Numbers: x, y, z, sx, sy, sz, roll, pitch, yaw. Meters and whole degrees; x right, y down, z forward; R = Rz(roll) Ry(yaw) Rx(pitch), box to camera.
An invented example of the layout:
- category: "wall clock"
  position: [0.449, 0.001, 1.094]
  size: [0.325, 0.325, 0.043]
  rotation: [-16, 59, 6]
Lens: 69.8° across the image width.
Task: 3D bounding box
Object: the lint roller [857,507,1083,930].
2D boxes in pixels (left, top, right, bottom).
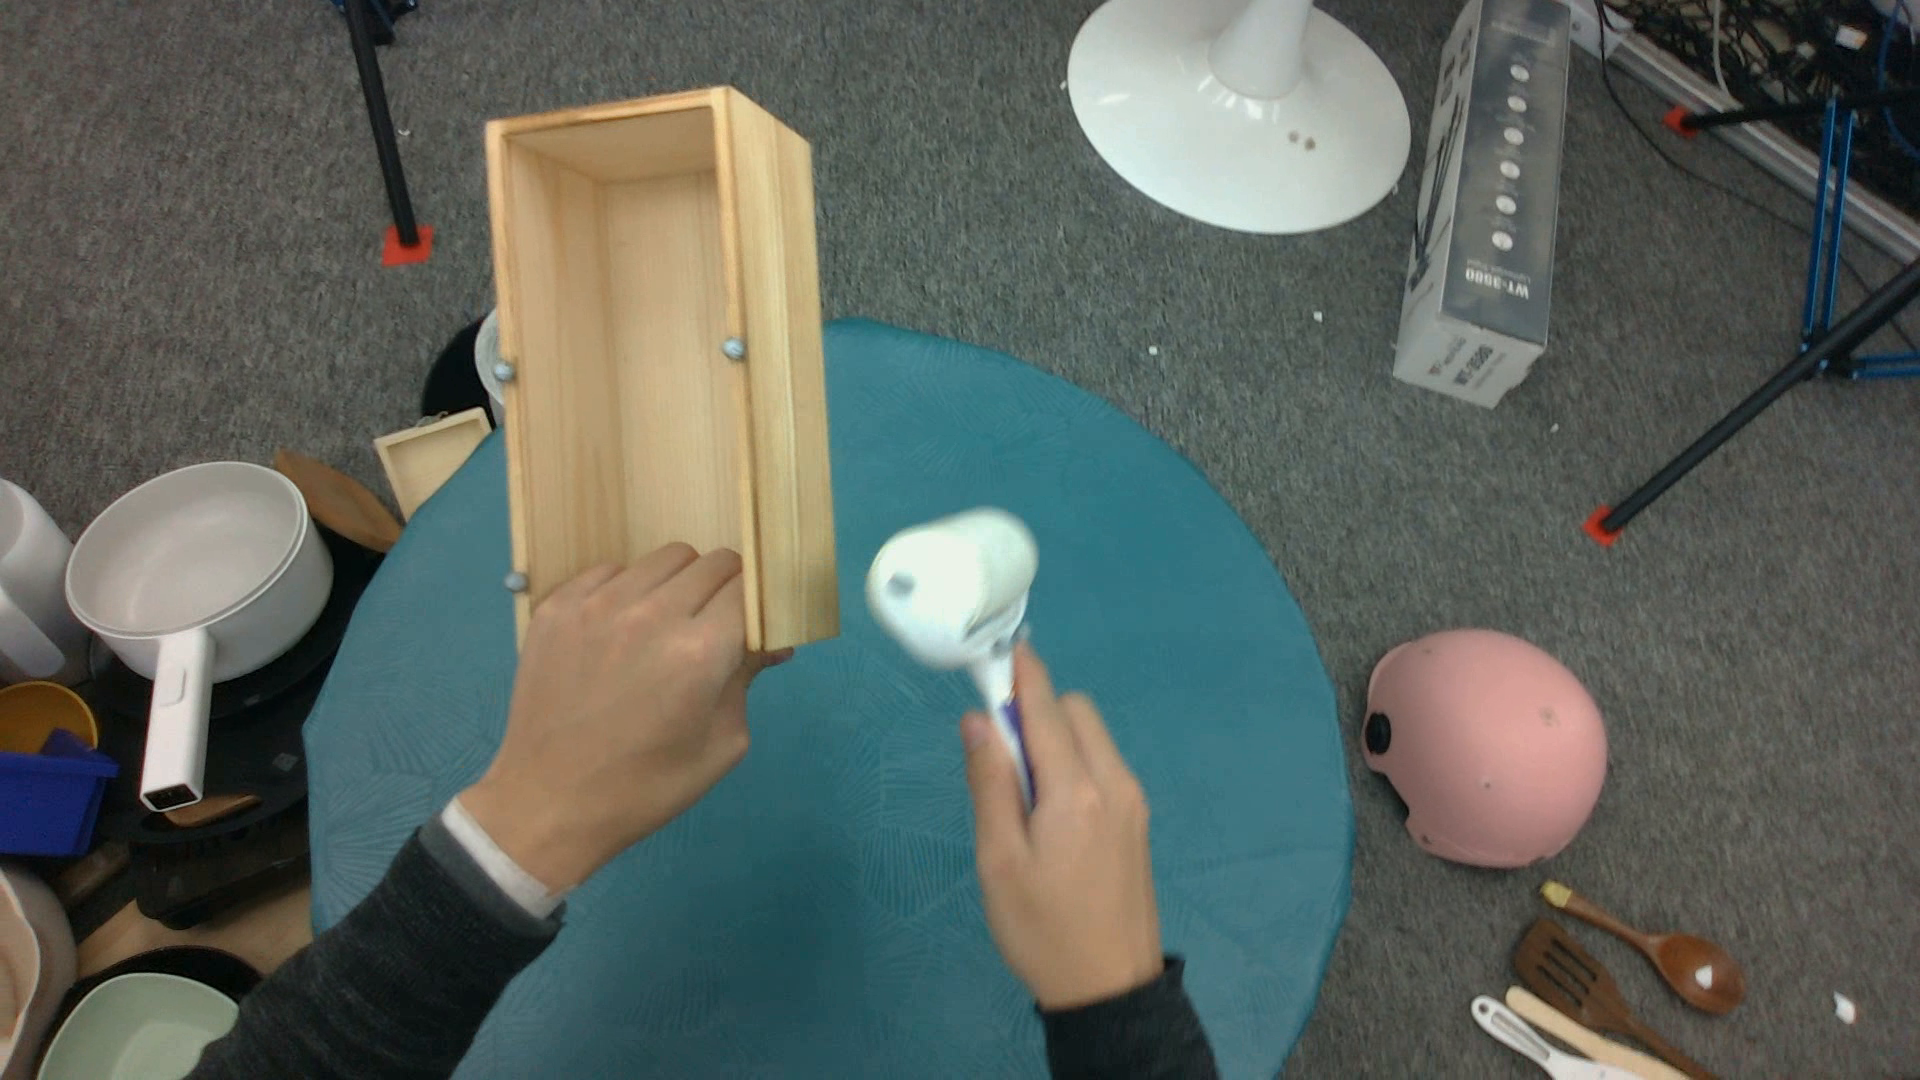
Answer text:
- category: "lint roller"
  position: [0.023, 0.072, 0.566]
  size: [0.050, 0.133, 0.181]
  rotation: [-27, 87, 14]

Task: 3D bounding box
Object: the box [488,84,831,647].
- category: "box"
  position: [-0.121, -0.066, 0.568]
  size: [0.107, 0.080, 0.211]
  rotation: [-3, 90, 15]
